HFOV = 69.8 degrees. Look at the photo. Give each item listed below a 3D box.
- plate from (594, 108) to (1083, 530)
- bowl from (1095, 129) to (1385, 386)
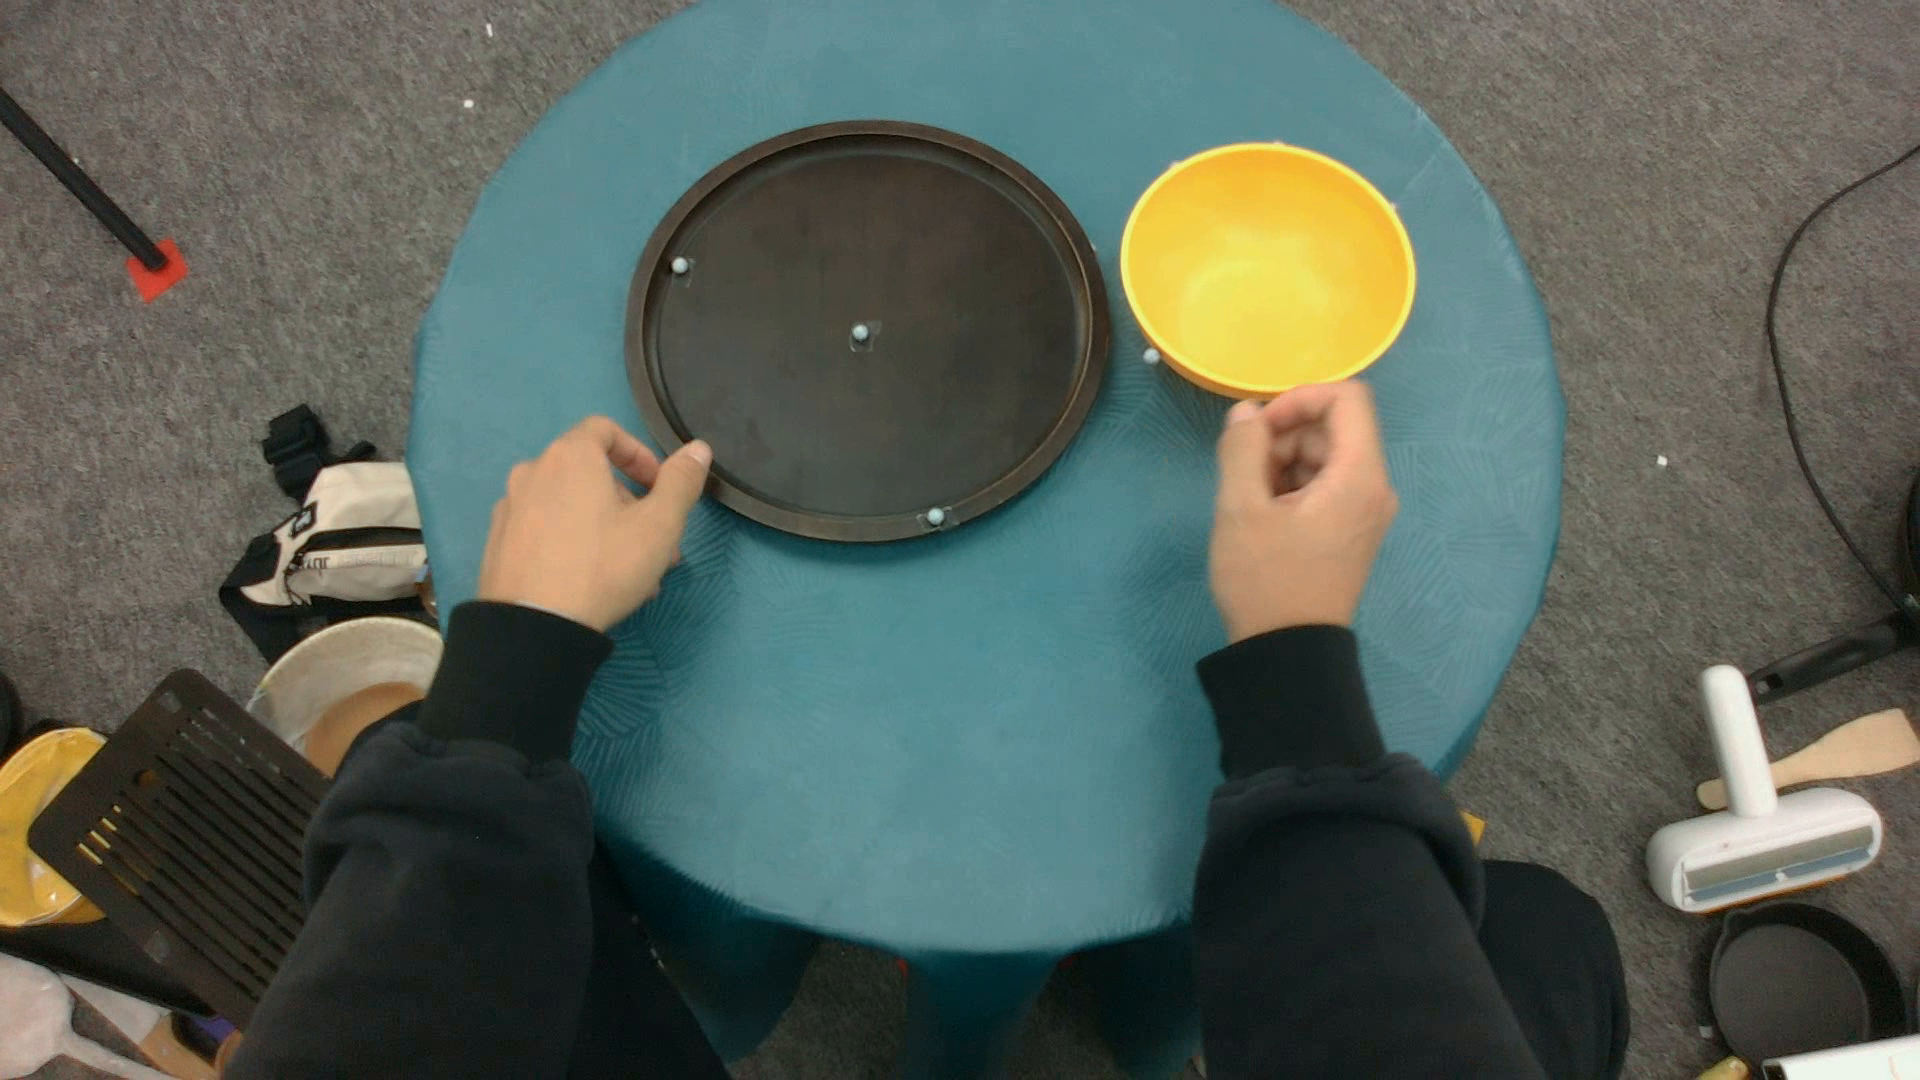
[{"bbox_3d":[-0.062,-0.120,0.721,0.255,0.029,0.255,1,69,-3],"label":"plate"},{"bbox_3d":[0.141,-0.136,0.716,0.145,0.060,0.146,0,70,0],"label":"bowl"}]
